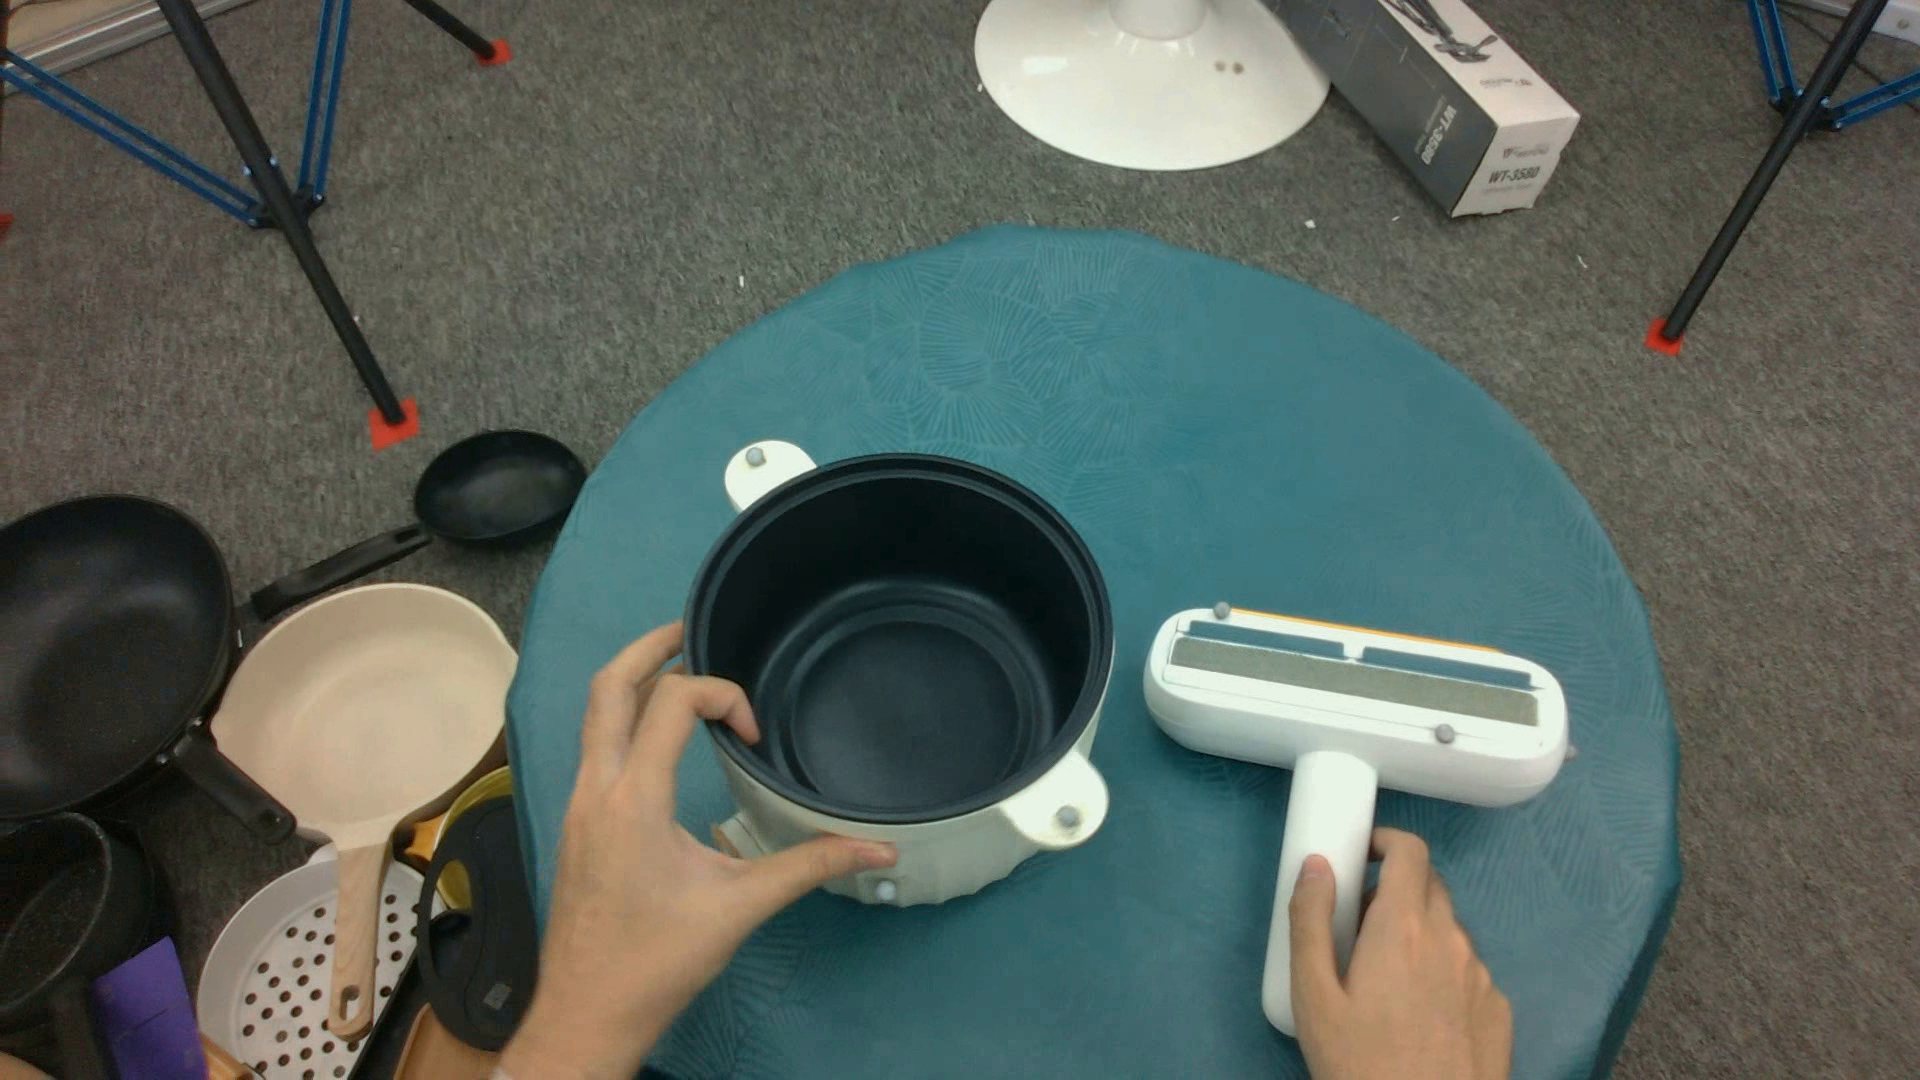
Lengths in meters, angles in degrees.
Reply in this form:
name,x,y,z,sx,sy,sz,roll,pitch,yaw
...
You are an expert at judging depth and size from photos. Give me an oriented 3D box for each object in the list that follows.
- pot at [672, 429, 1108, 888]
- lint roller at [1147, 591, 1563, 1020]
name,x,y,z,sx,sy,sz,roll,pitch,yaw
pot,-0.034,0.066,0.628,0.191,0.142,0.240,-35,62,-25
lint roller,0.167,0.123,0.639,0.193,0.074,0.193,14,58,15
